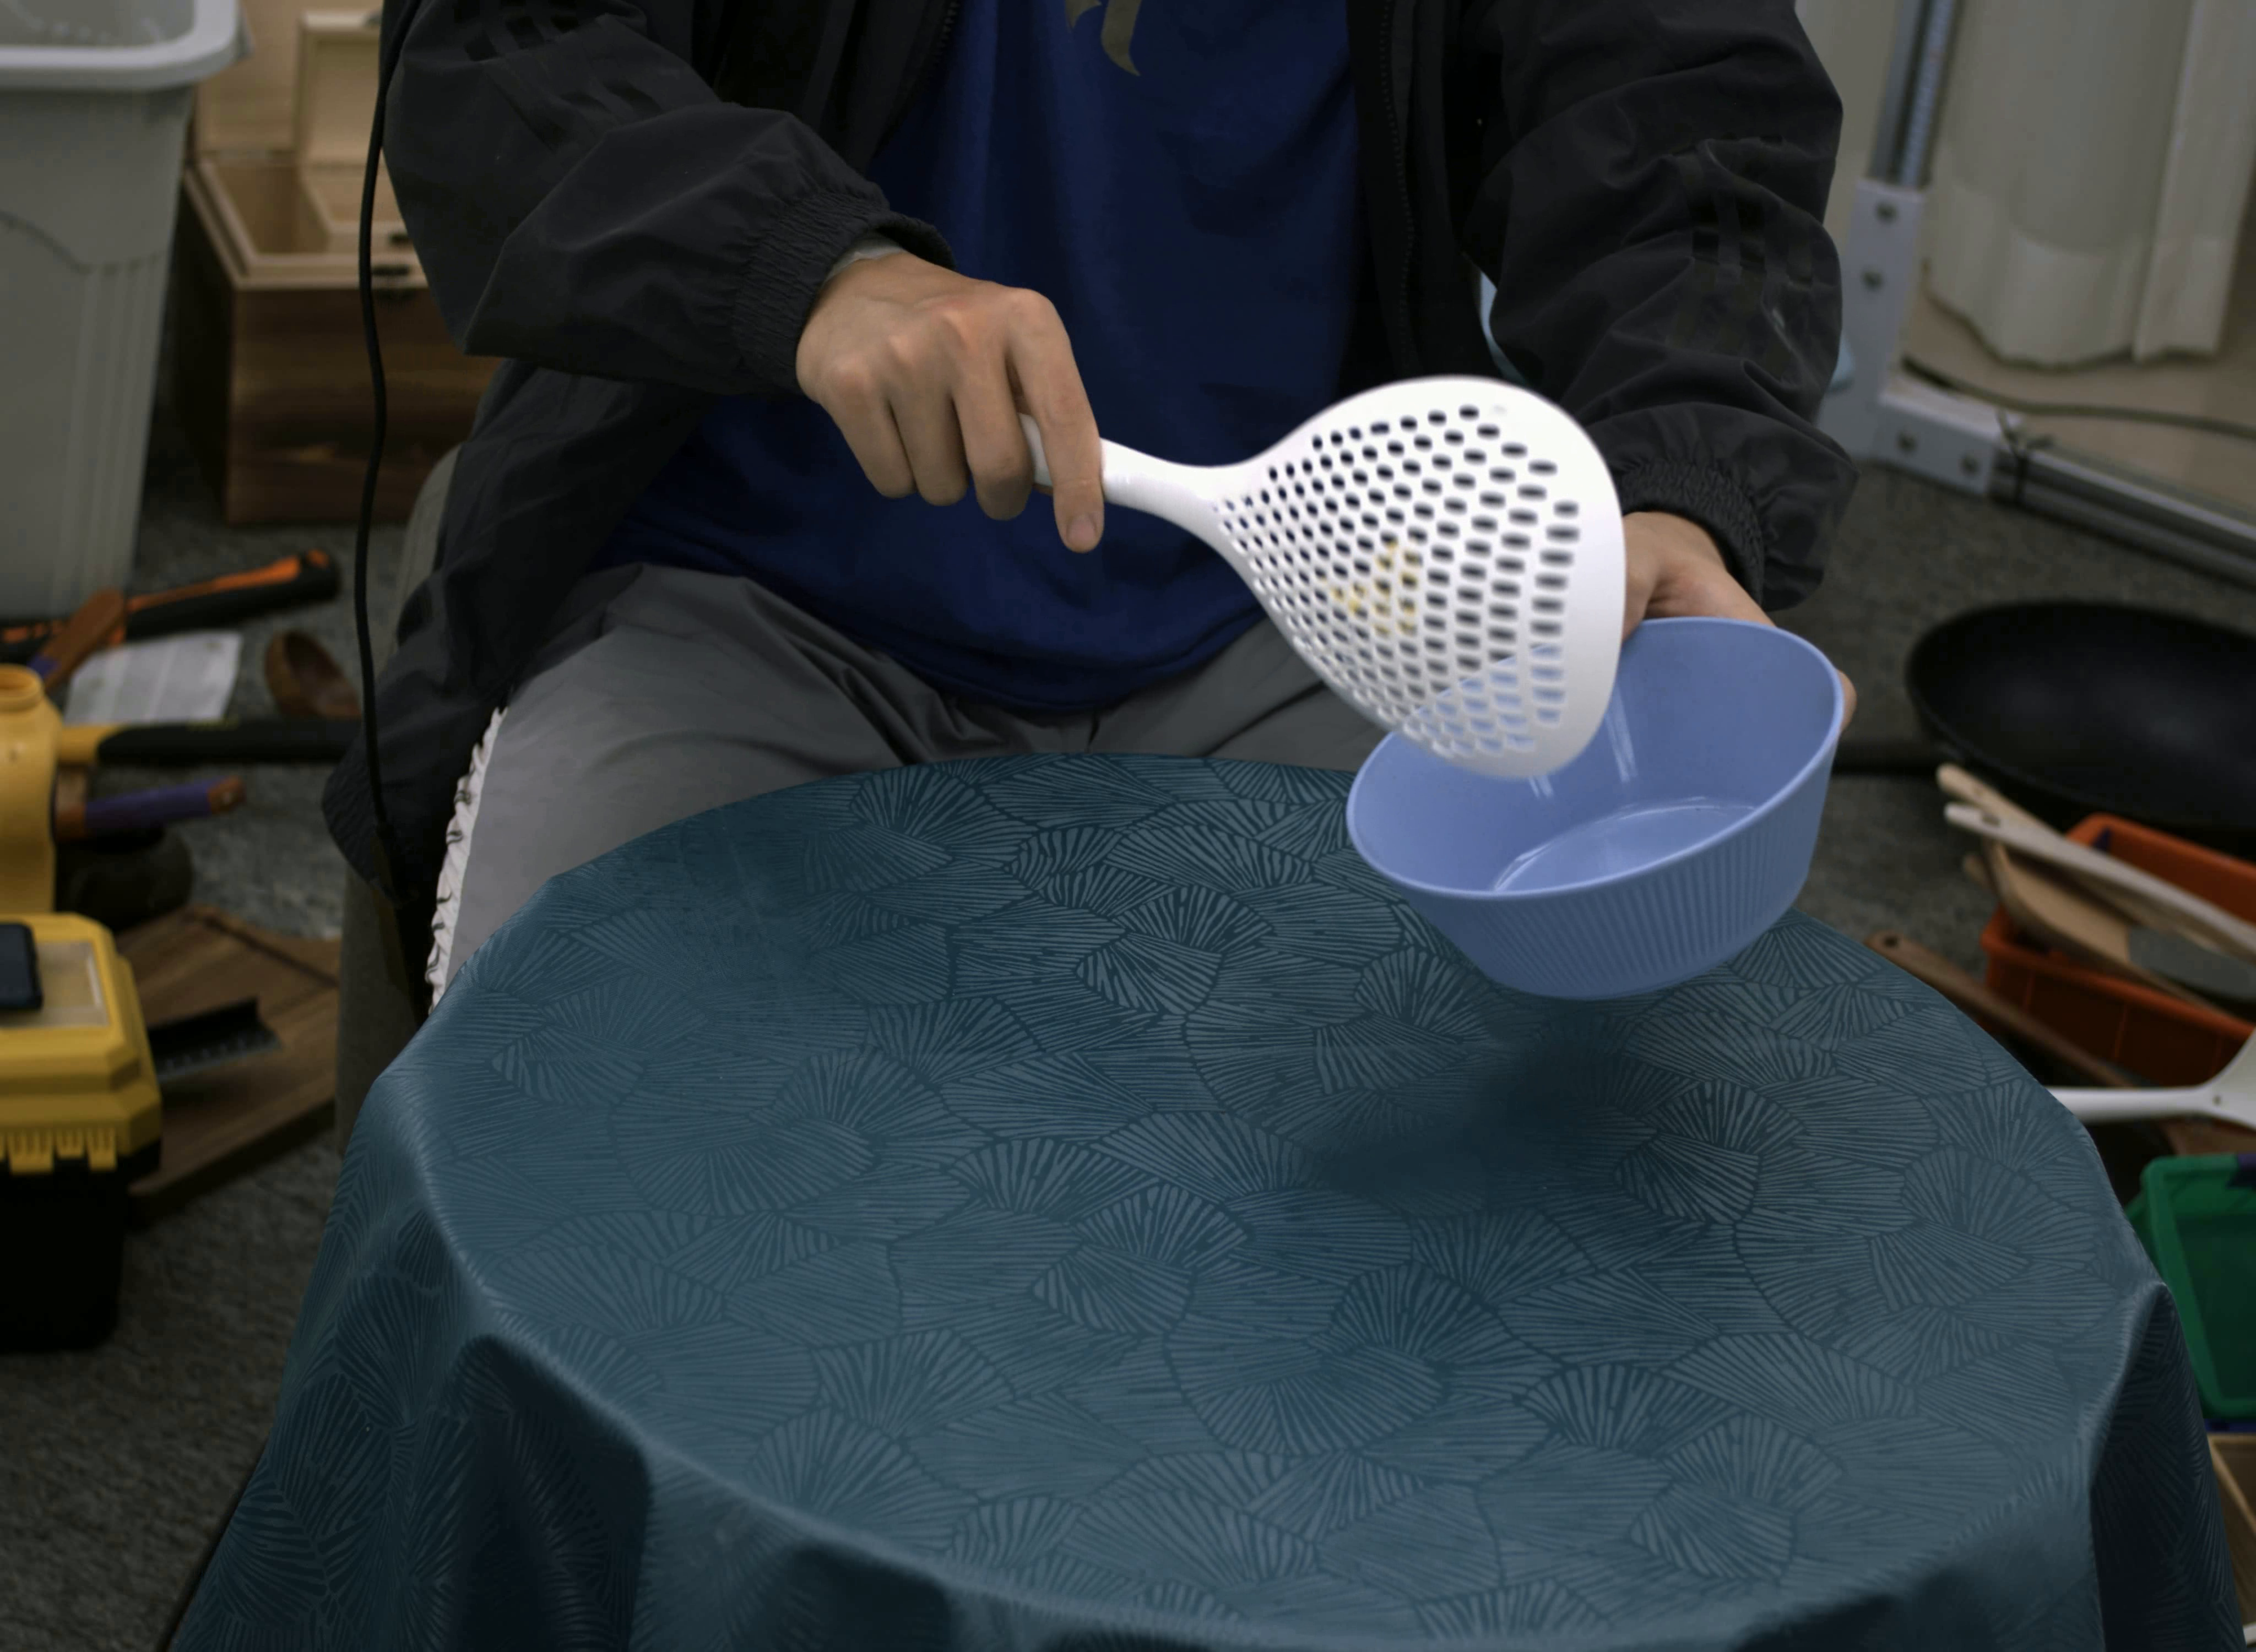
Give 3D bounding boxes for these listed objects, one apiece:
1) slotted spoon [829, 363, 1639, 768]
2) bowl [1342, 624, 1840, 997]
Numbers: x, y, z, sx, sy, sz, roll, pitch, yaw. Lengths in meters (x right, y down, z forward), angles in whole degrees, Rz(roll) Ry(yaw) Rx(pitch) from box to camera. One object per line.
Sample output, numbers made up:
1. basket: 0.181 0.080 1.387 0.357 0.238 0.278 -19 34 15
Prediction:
1. slotted spoon: 0.029 -0.112 1.838 0.050 0.136 0.350 -16 26 -42
2. bowl: 0.166 0.001 1.833 0.176 0.070 0.177 -16 26 8
